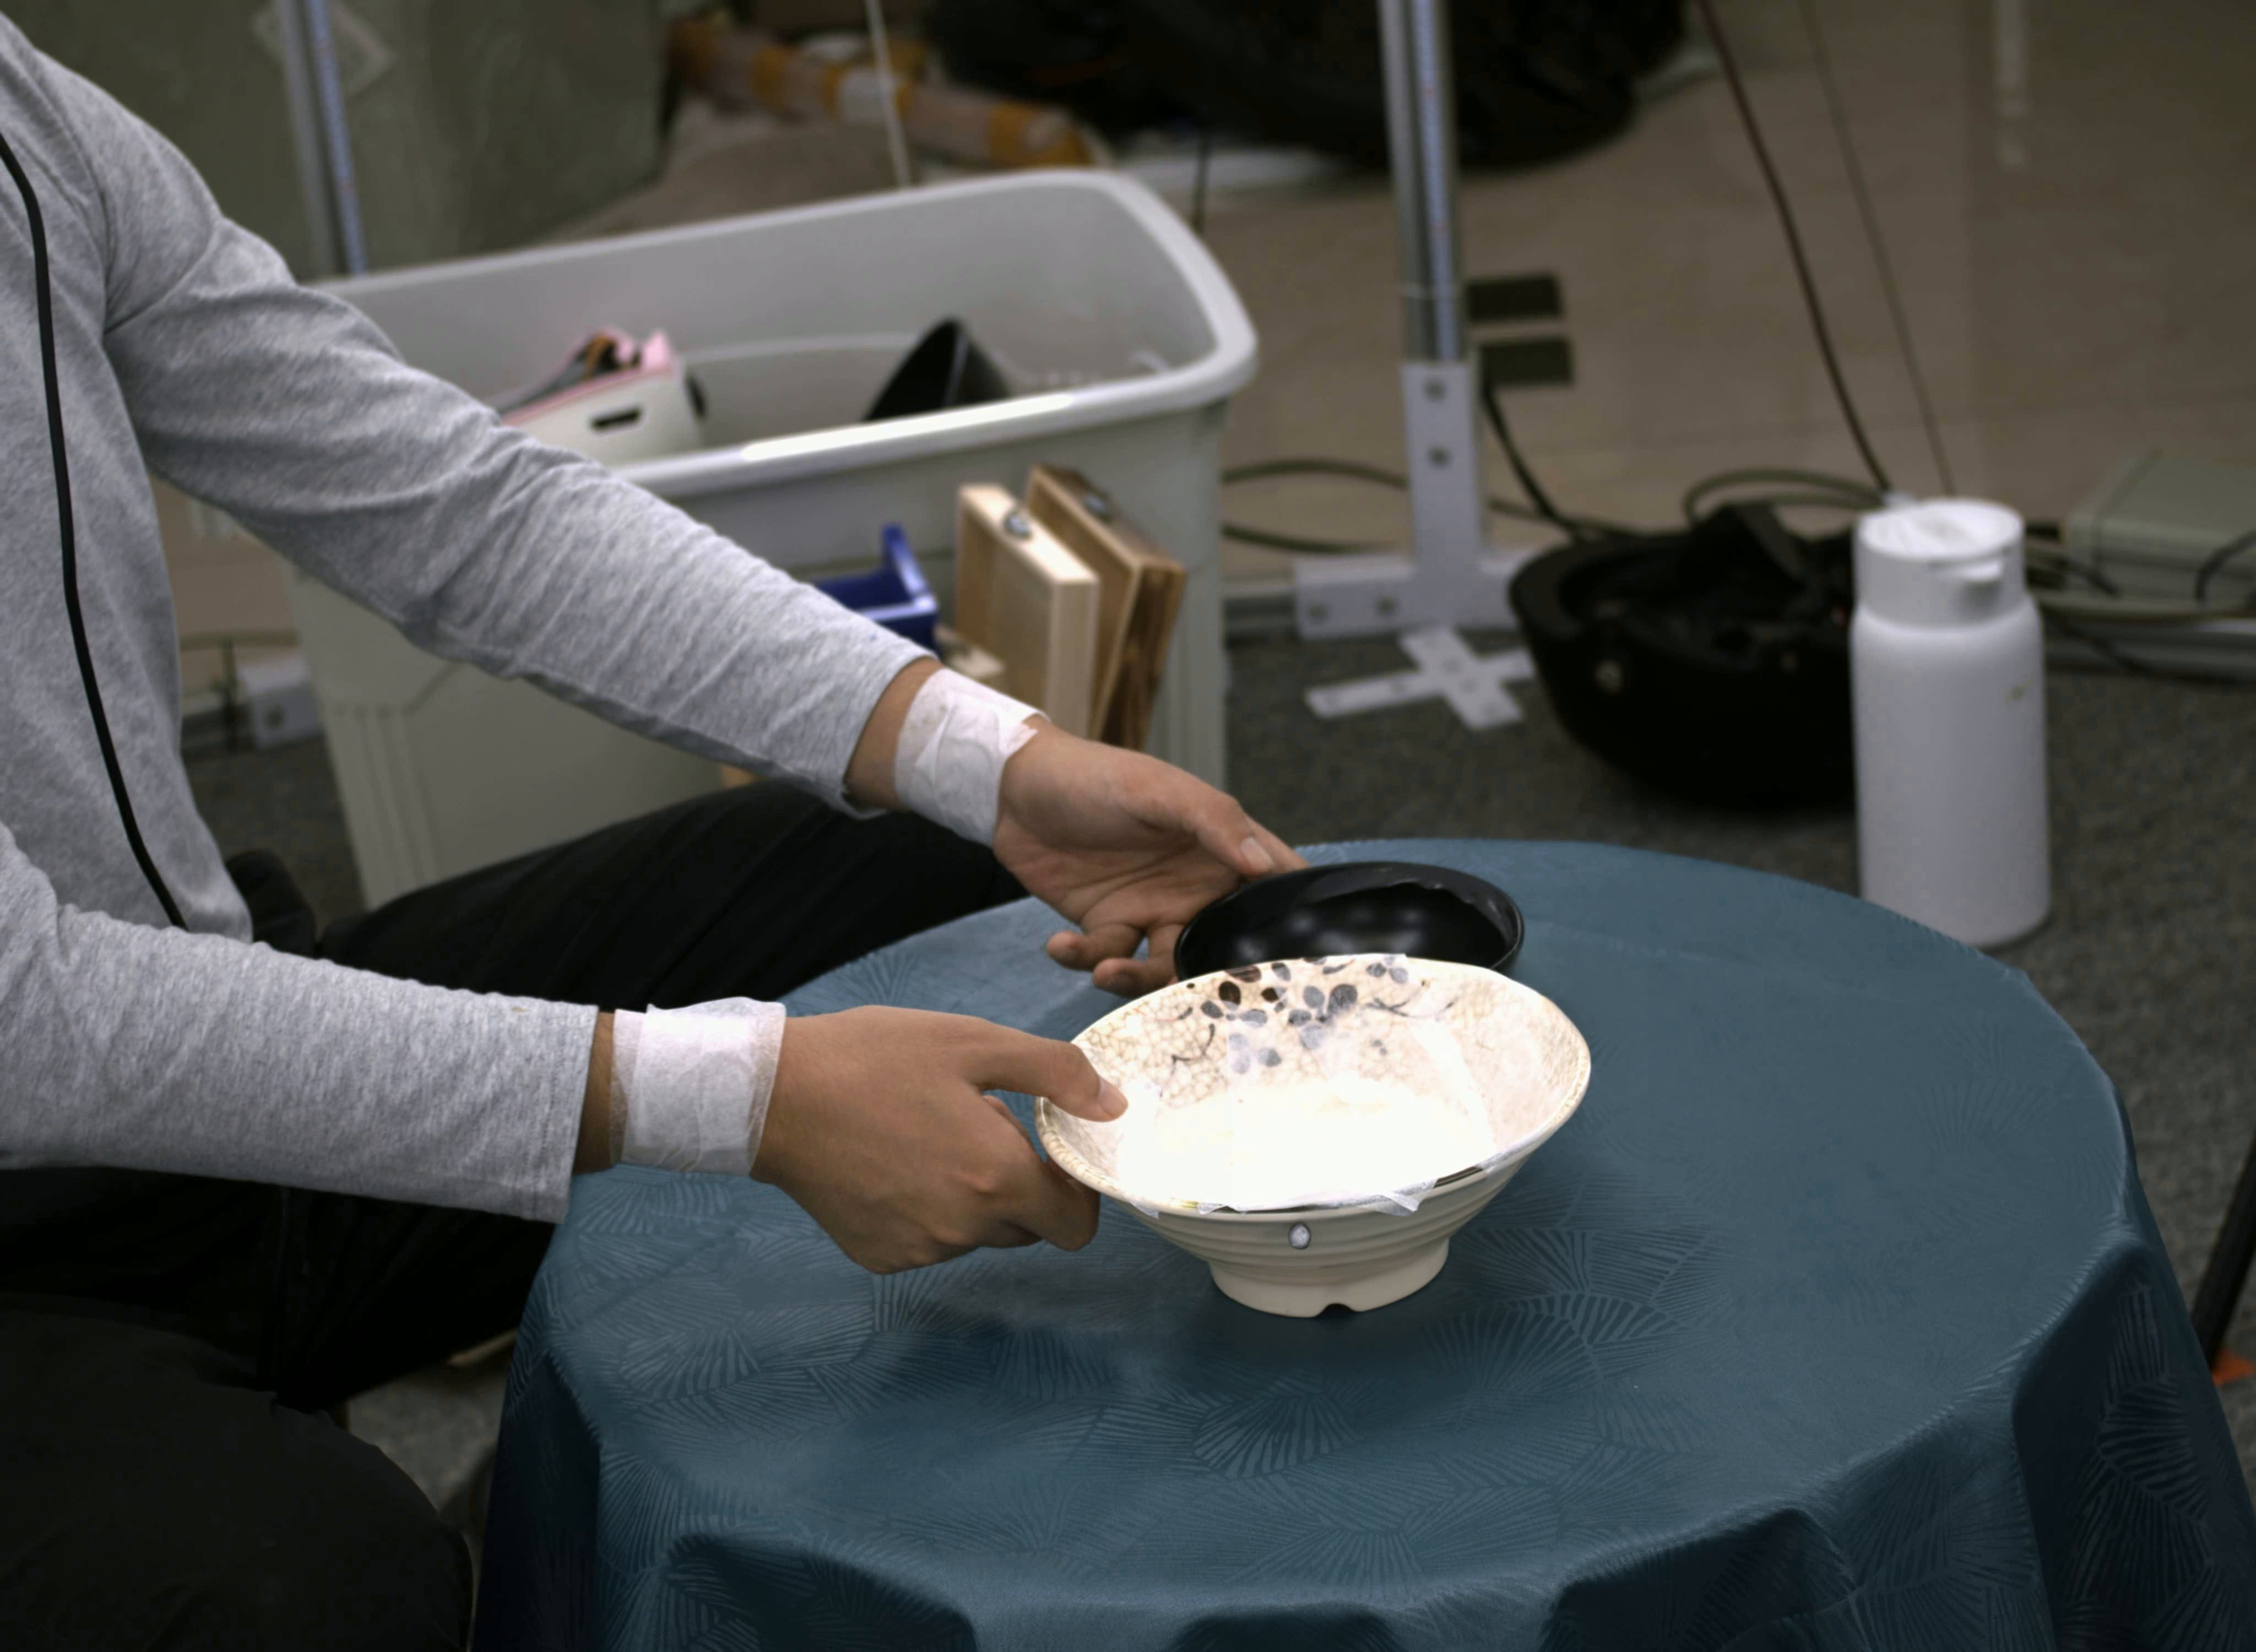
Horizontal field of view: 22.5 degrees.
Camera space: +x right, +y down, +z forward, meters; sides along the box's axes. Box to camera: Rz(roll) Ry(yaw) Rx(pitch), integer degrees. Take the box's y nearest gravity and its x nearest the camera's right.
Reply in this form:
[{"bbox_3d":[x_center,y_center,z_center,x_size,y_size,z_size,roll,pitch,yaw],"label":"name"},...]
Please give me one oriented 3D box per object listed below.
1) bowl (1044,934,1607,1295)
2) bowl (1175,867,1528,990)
[{"bbox_3d":[0.070,0.116,2.058,0.203,0.079,0.201,2,25,-1],"label":"bowl"},{"bbox_3d":[0.089,0.065,2.230,0.140,0.050,0.138,-6,22,2],"label":"bowl"}]
